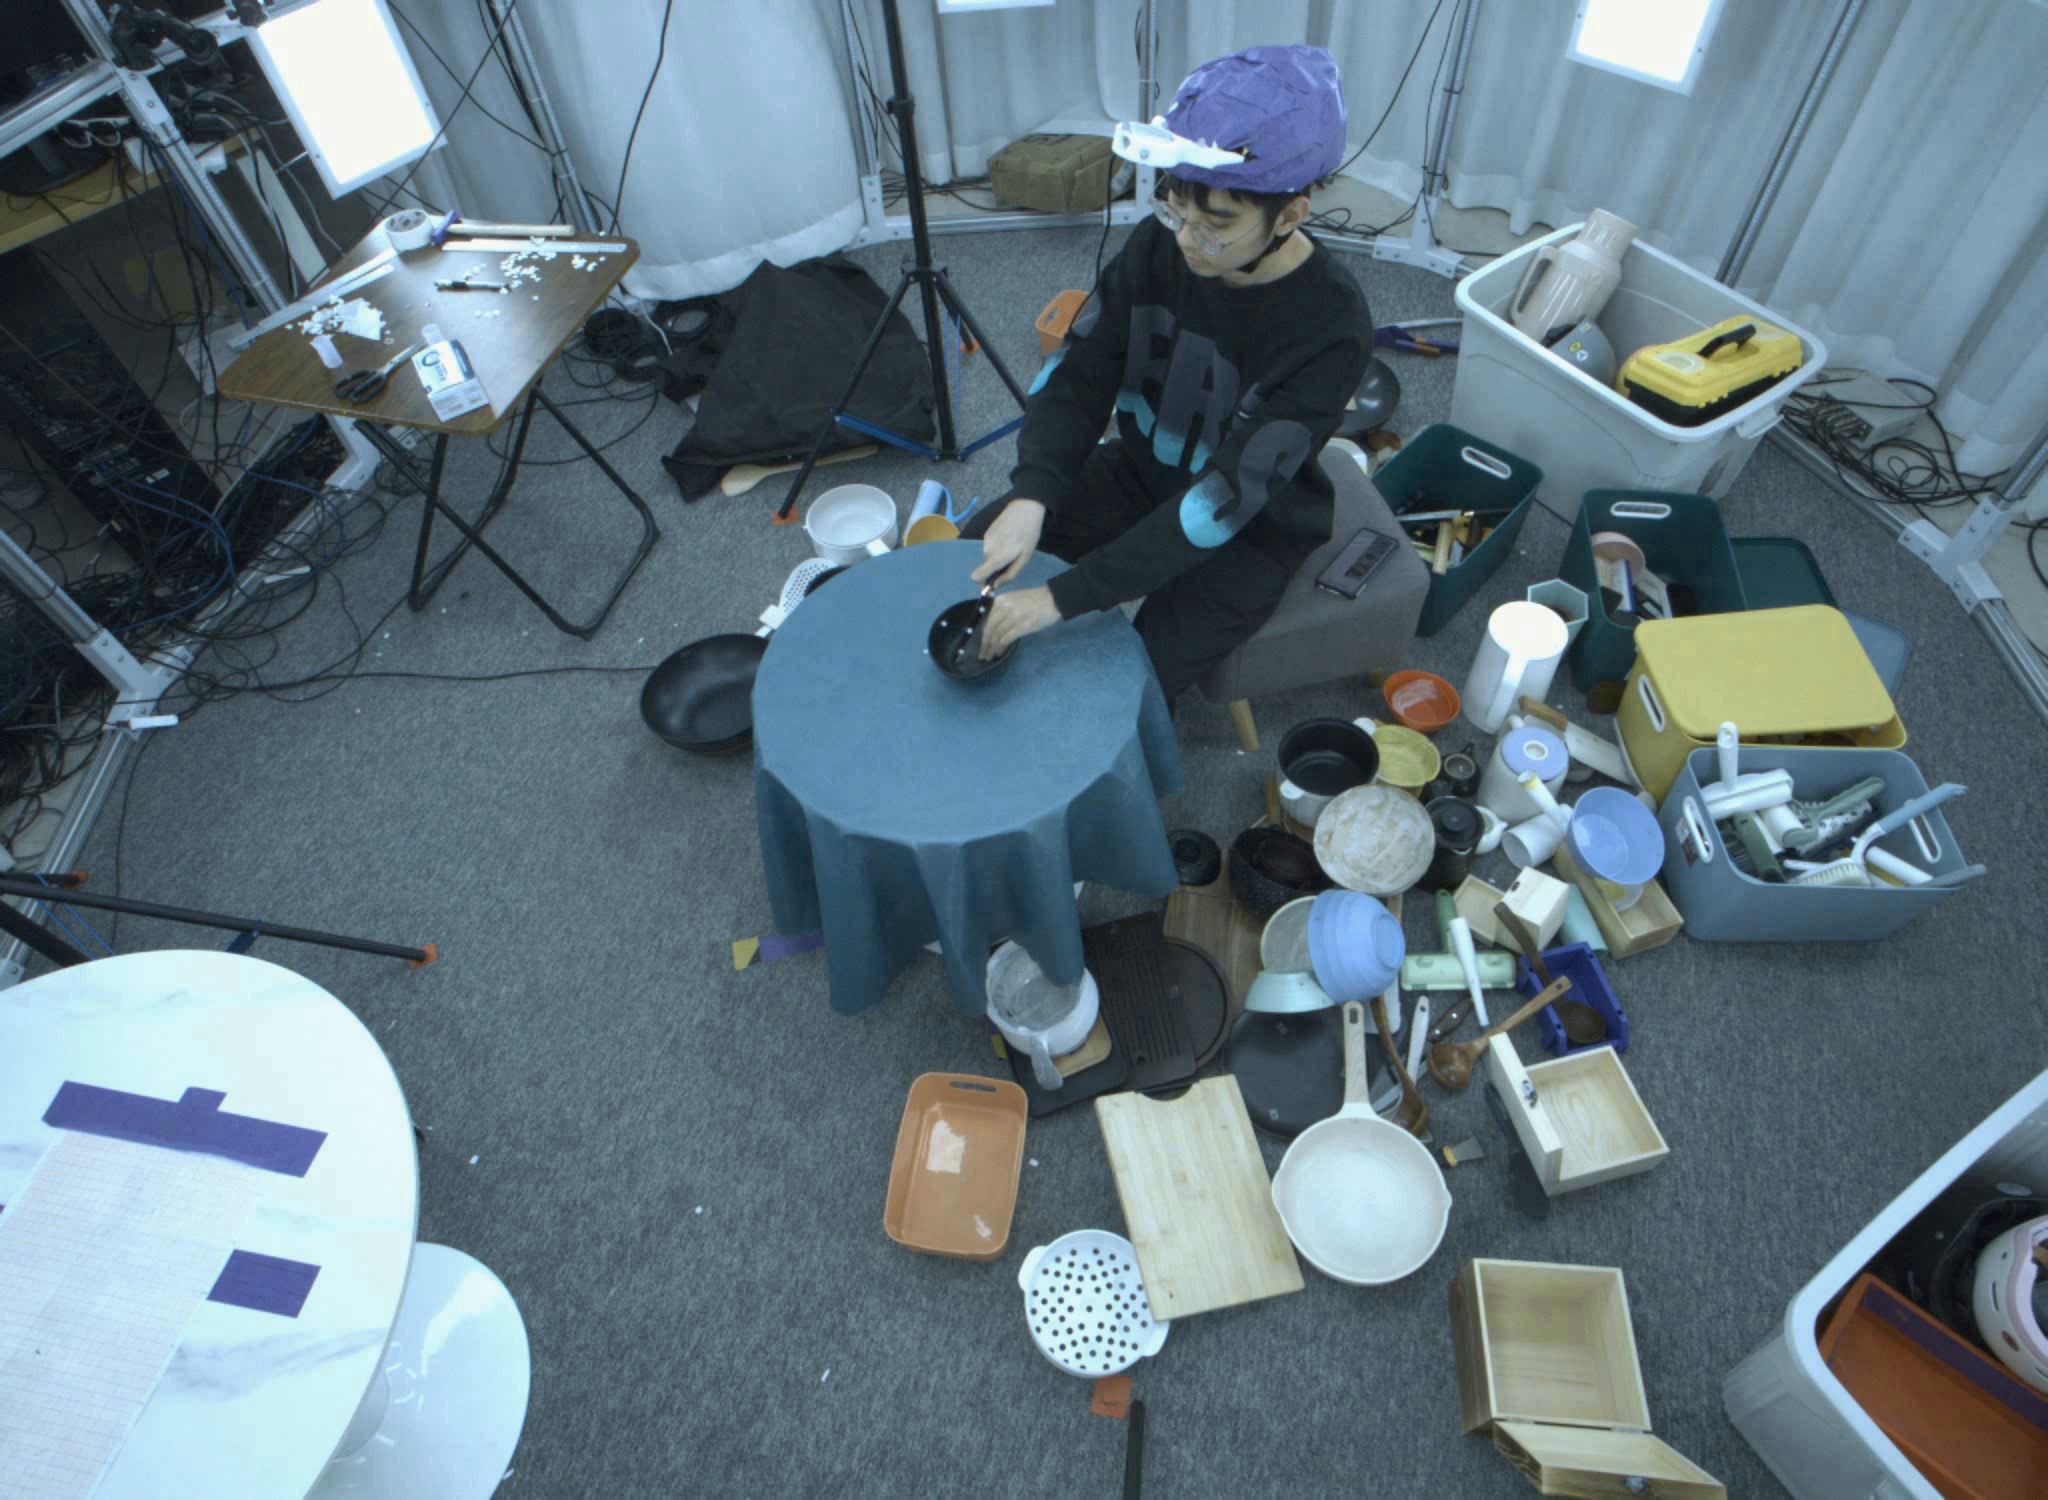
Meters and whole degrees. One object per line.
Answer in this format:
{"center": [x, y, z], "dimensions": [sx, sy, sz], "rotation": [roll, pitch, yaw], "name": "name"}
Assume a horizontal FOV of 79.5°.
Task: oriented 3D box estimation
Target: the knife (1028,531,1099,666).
{"center": [0.056, -0.229, 1.861], "dimensions": [0.017, 0.027, 0.225], "rotation": [30, 93, 38], "name": "knife"}

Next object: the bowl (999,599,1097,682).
{"center": [0.037, -0.158, 1.857], "dimensions": [0.135, 0.067, 0.171], "rotation": [23, 57, 17], "name": "bowl"}
